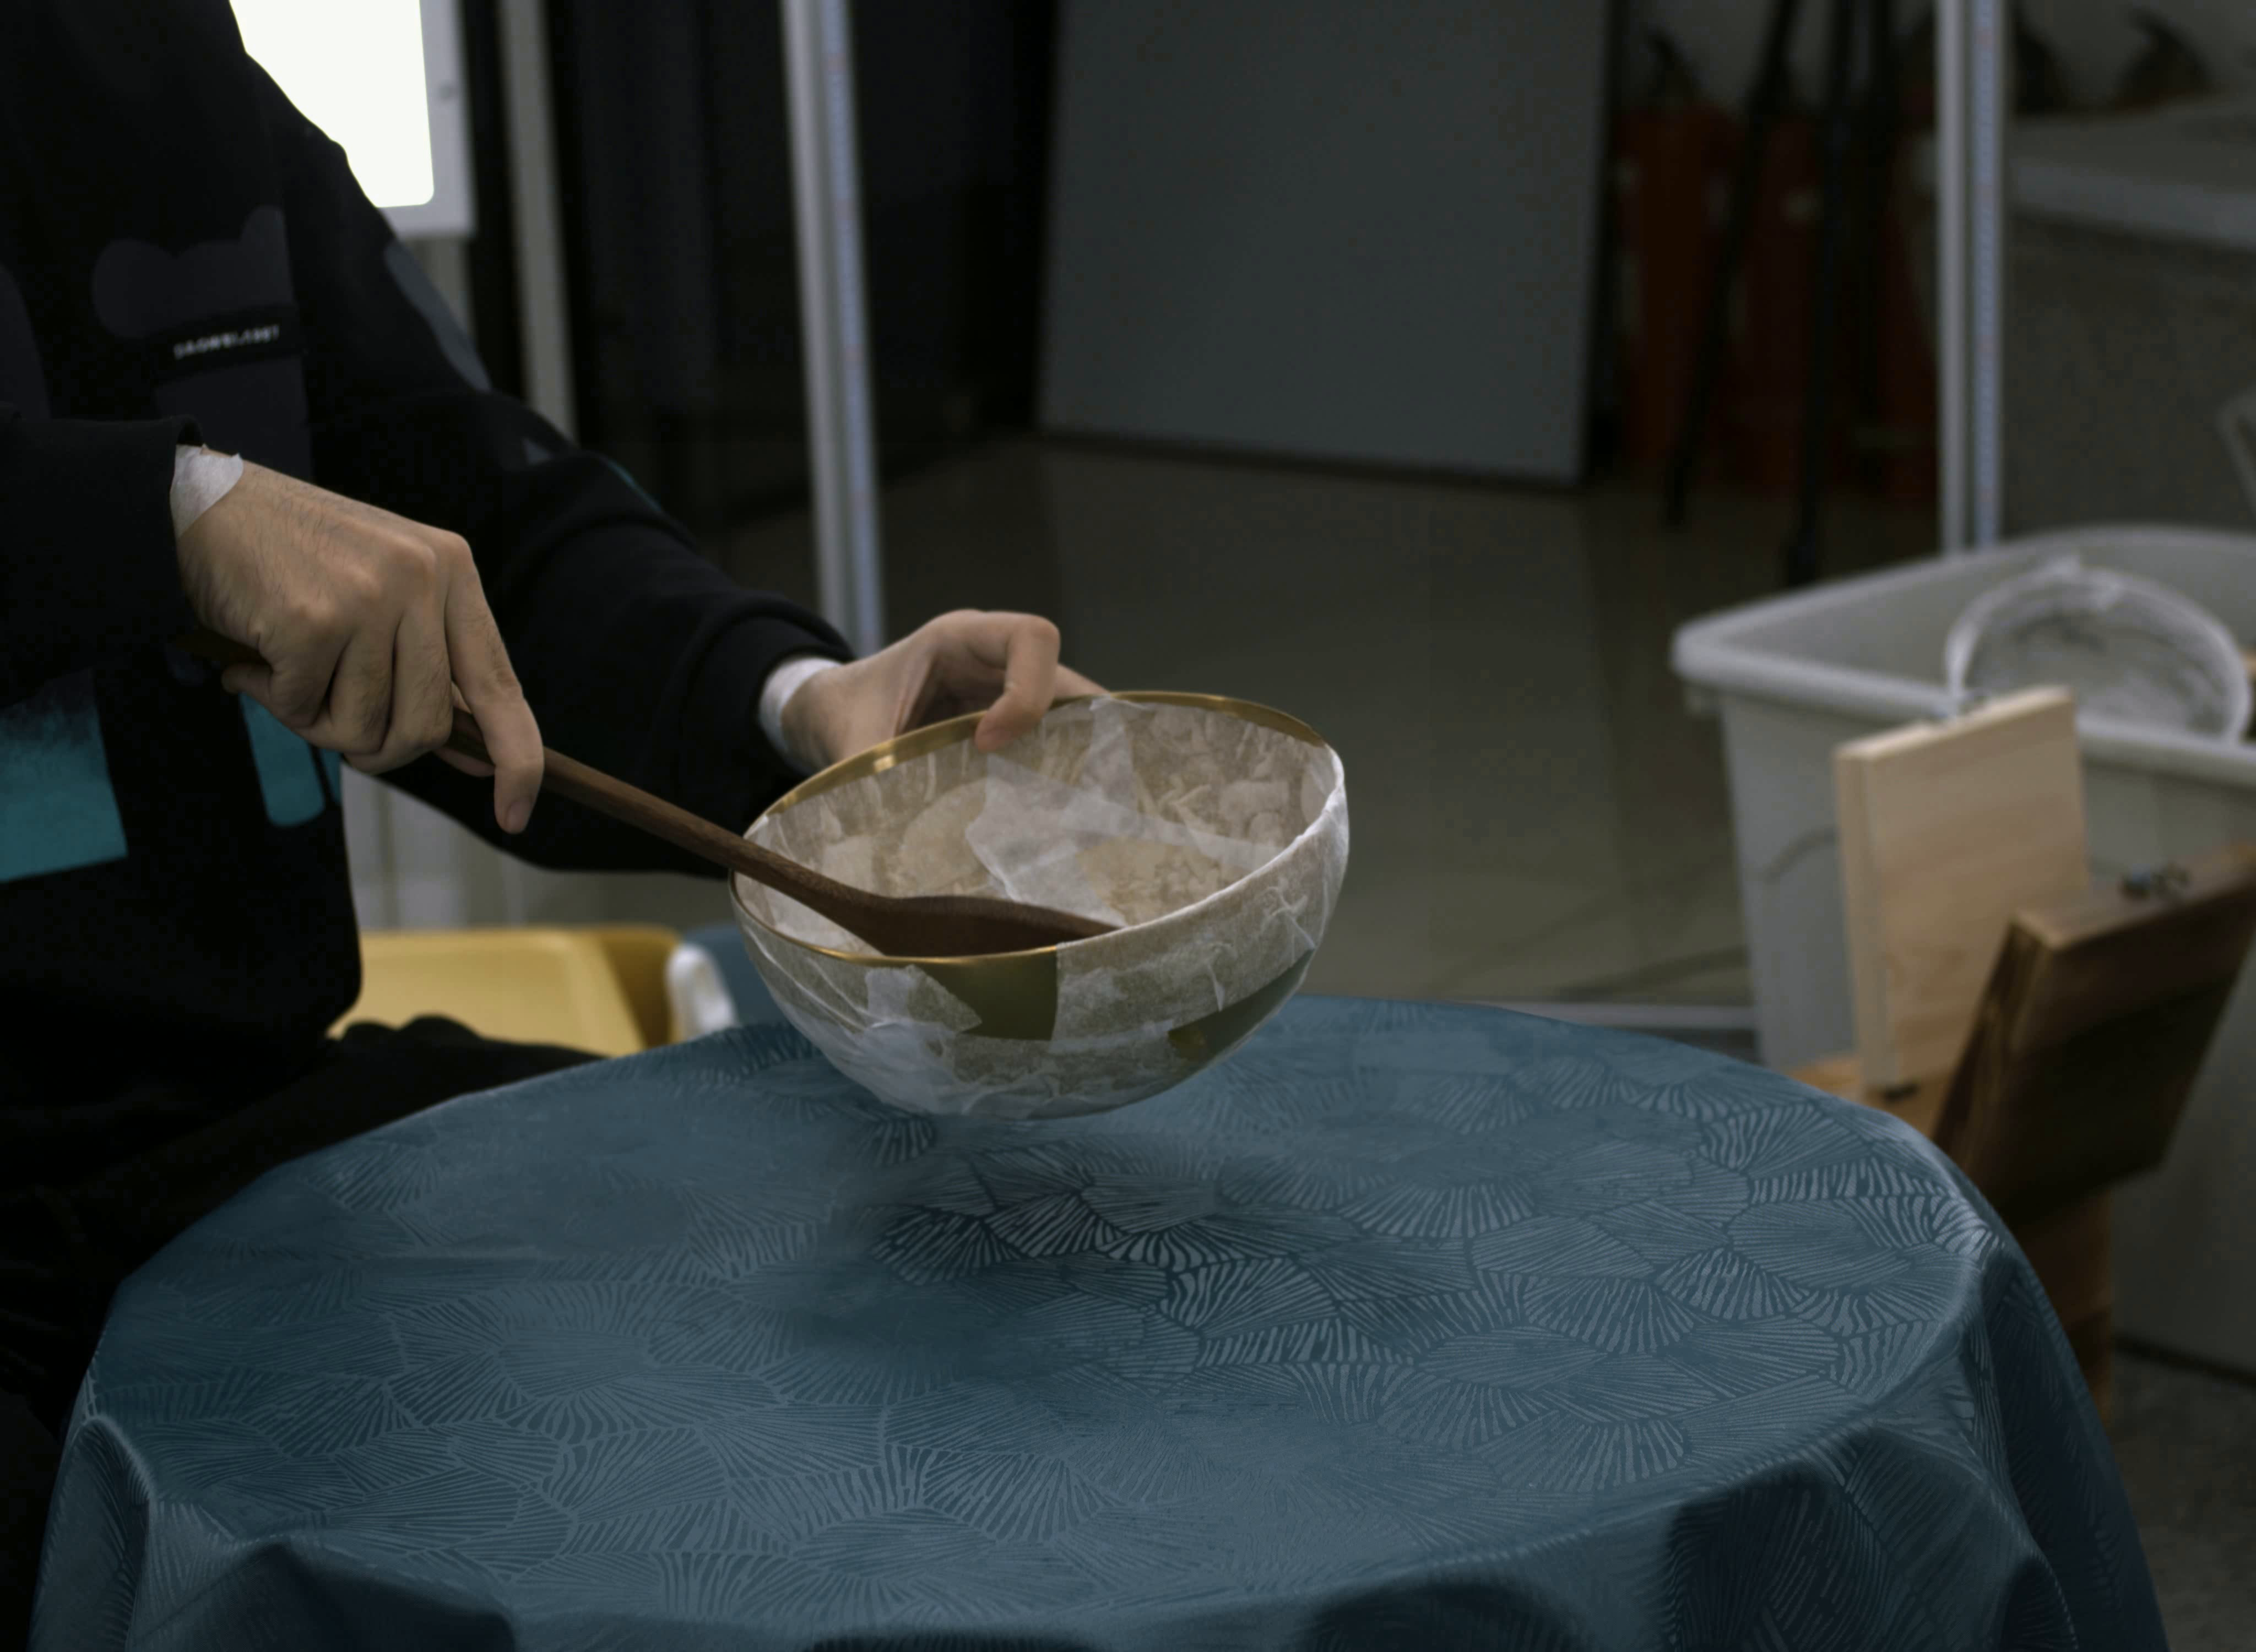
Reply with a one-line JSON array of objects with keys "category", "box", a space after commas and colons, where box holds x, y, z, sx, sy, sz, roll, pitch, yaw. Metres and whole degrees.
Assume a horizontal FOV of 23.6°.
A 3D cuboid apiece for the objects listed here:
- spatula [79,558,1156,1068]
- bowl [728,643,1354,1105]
[{"category": "spatula", "box": [-0.158, -0.009, 1.718, 0.384, 0.096, 0.016, 23, 61, 7]}, {"category": "bowl", "box": [-0.027, 0.026, 1.731, 0.212, 0.095, 0.216, -5, 29, 2]}]
